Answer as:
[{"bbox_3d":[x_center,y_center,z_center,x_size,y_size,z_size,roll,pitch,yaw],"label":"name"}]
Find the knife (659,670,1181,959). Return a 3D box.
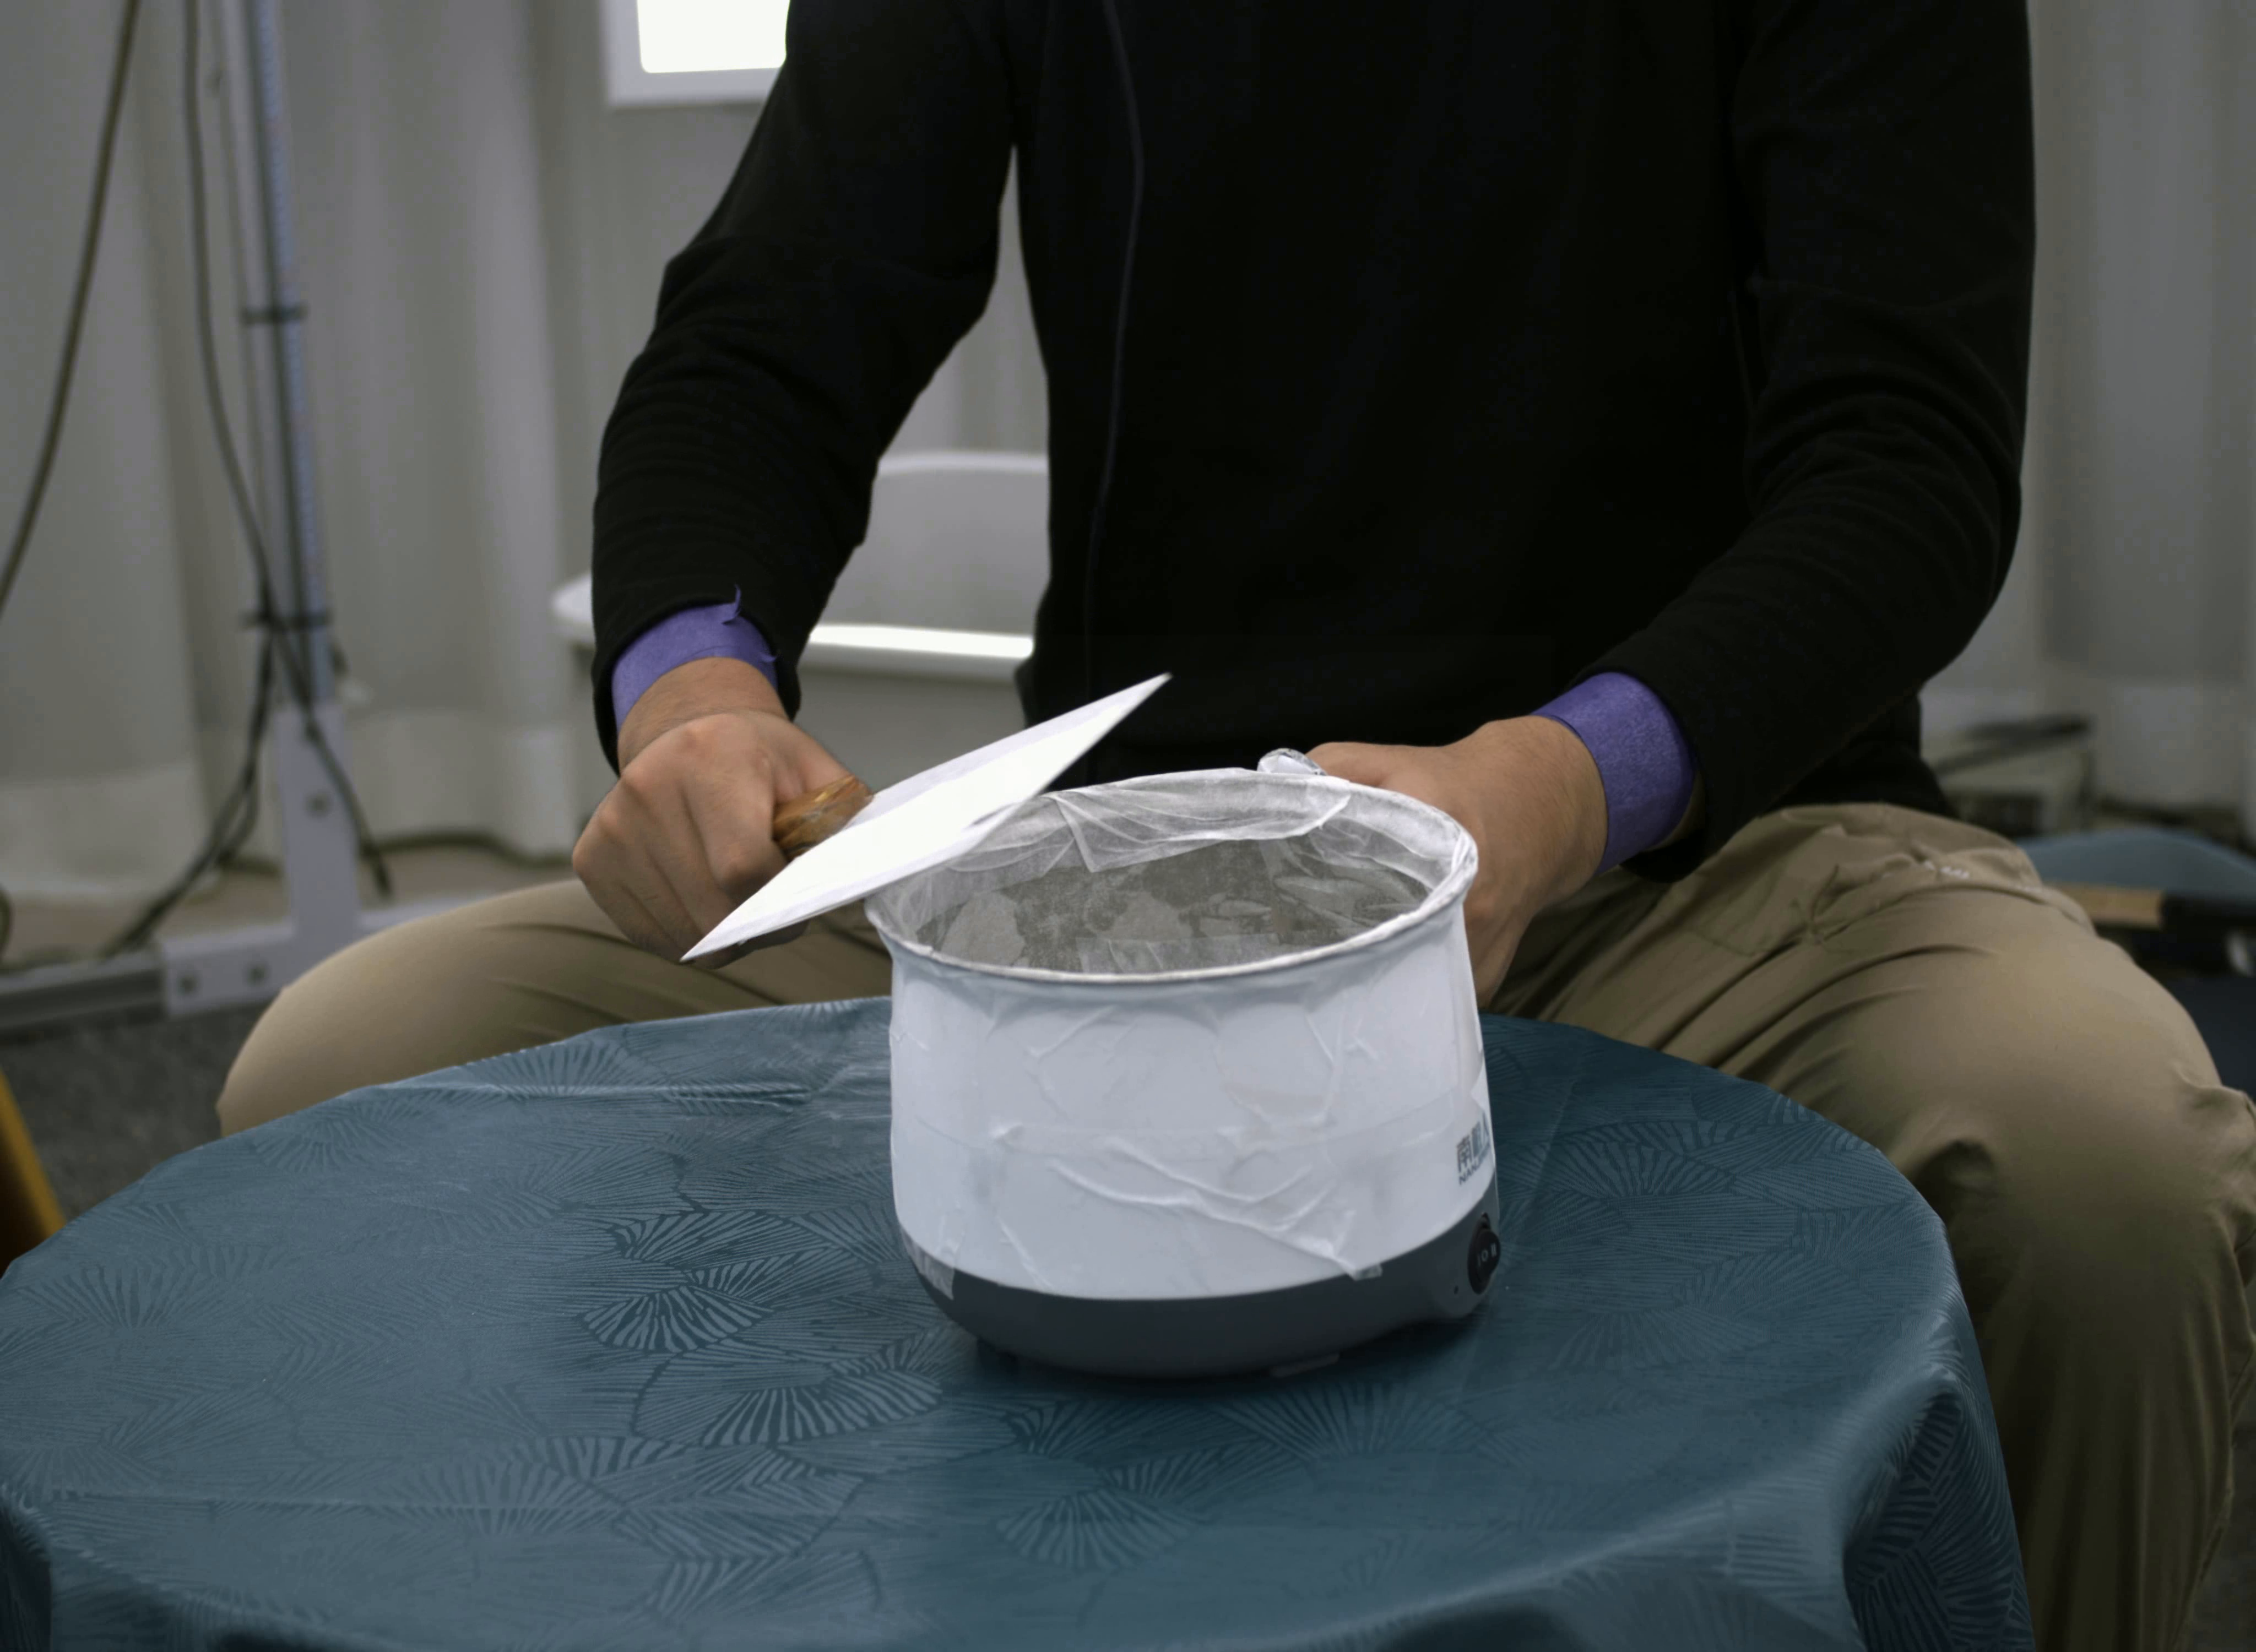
[{"bbox_3d":[-0.085,0.007,1.666,0.093,0.021,0.305,-39,9,-30],"label":"knife"}]

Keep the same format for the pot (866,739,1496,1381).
[{"bbox_3d":[0.026,0.062,1.615,0.179,0.136,0.235,3,20,20],"label":"pot"}]
